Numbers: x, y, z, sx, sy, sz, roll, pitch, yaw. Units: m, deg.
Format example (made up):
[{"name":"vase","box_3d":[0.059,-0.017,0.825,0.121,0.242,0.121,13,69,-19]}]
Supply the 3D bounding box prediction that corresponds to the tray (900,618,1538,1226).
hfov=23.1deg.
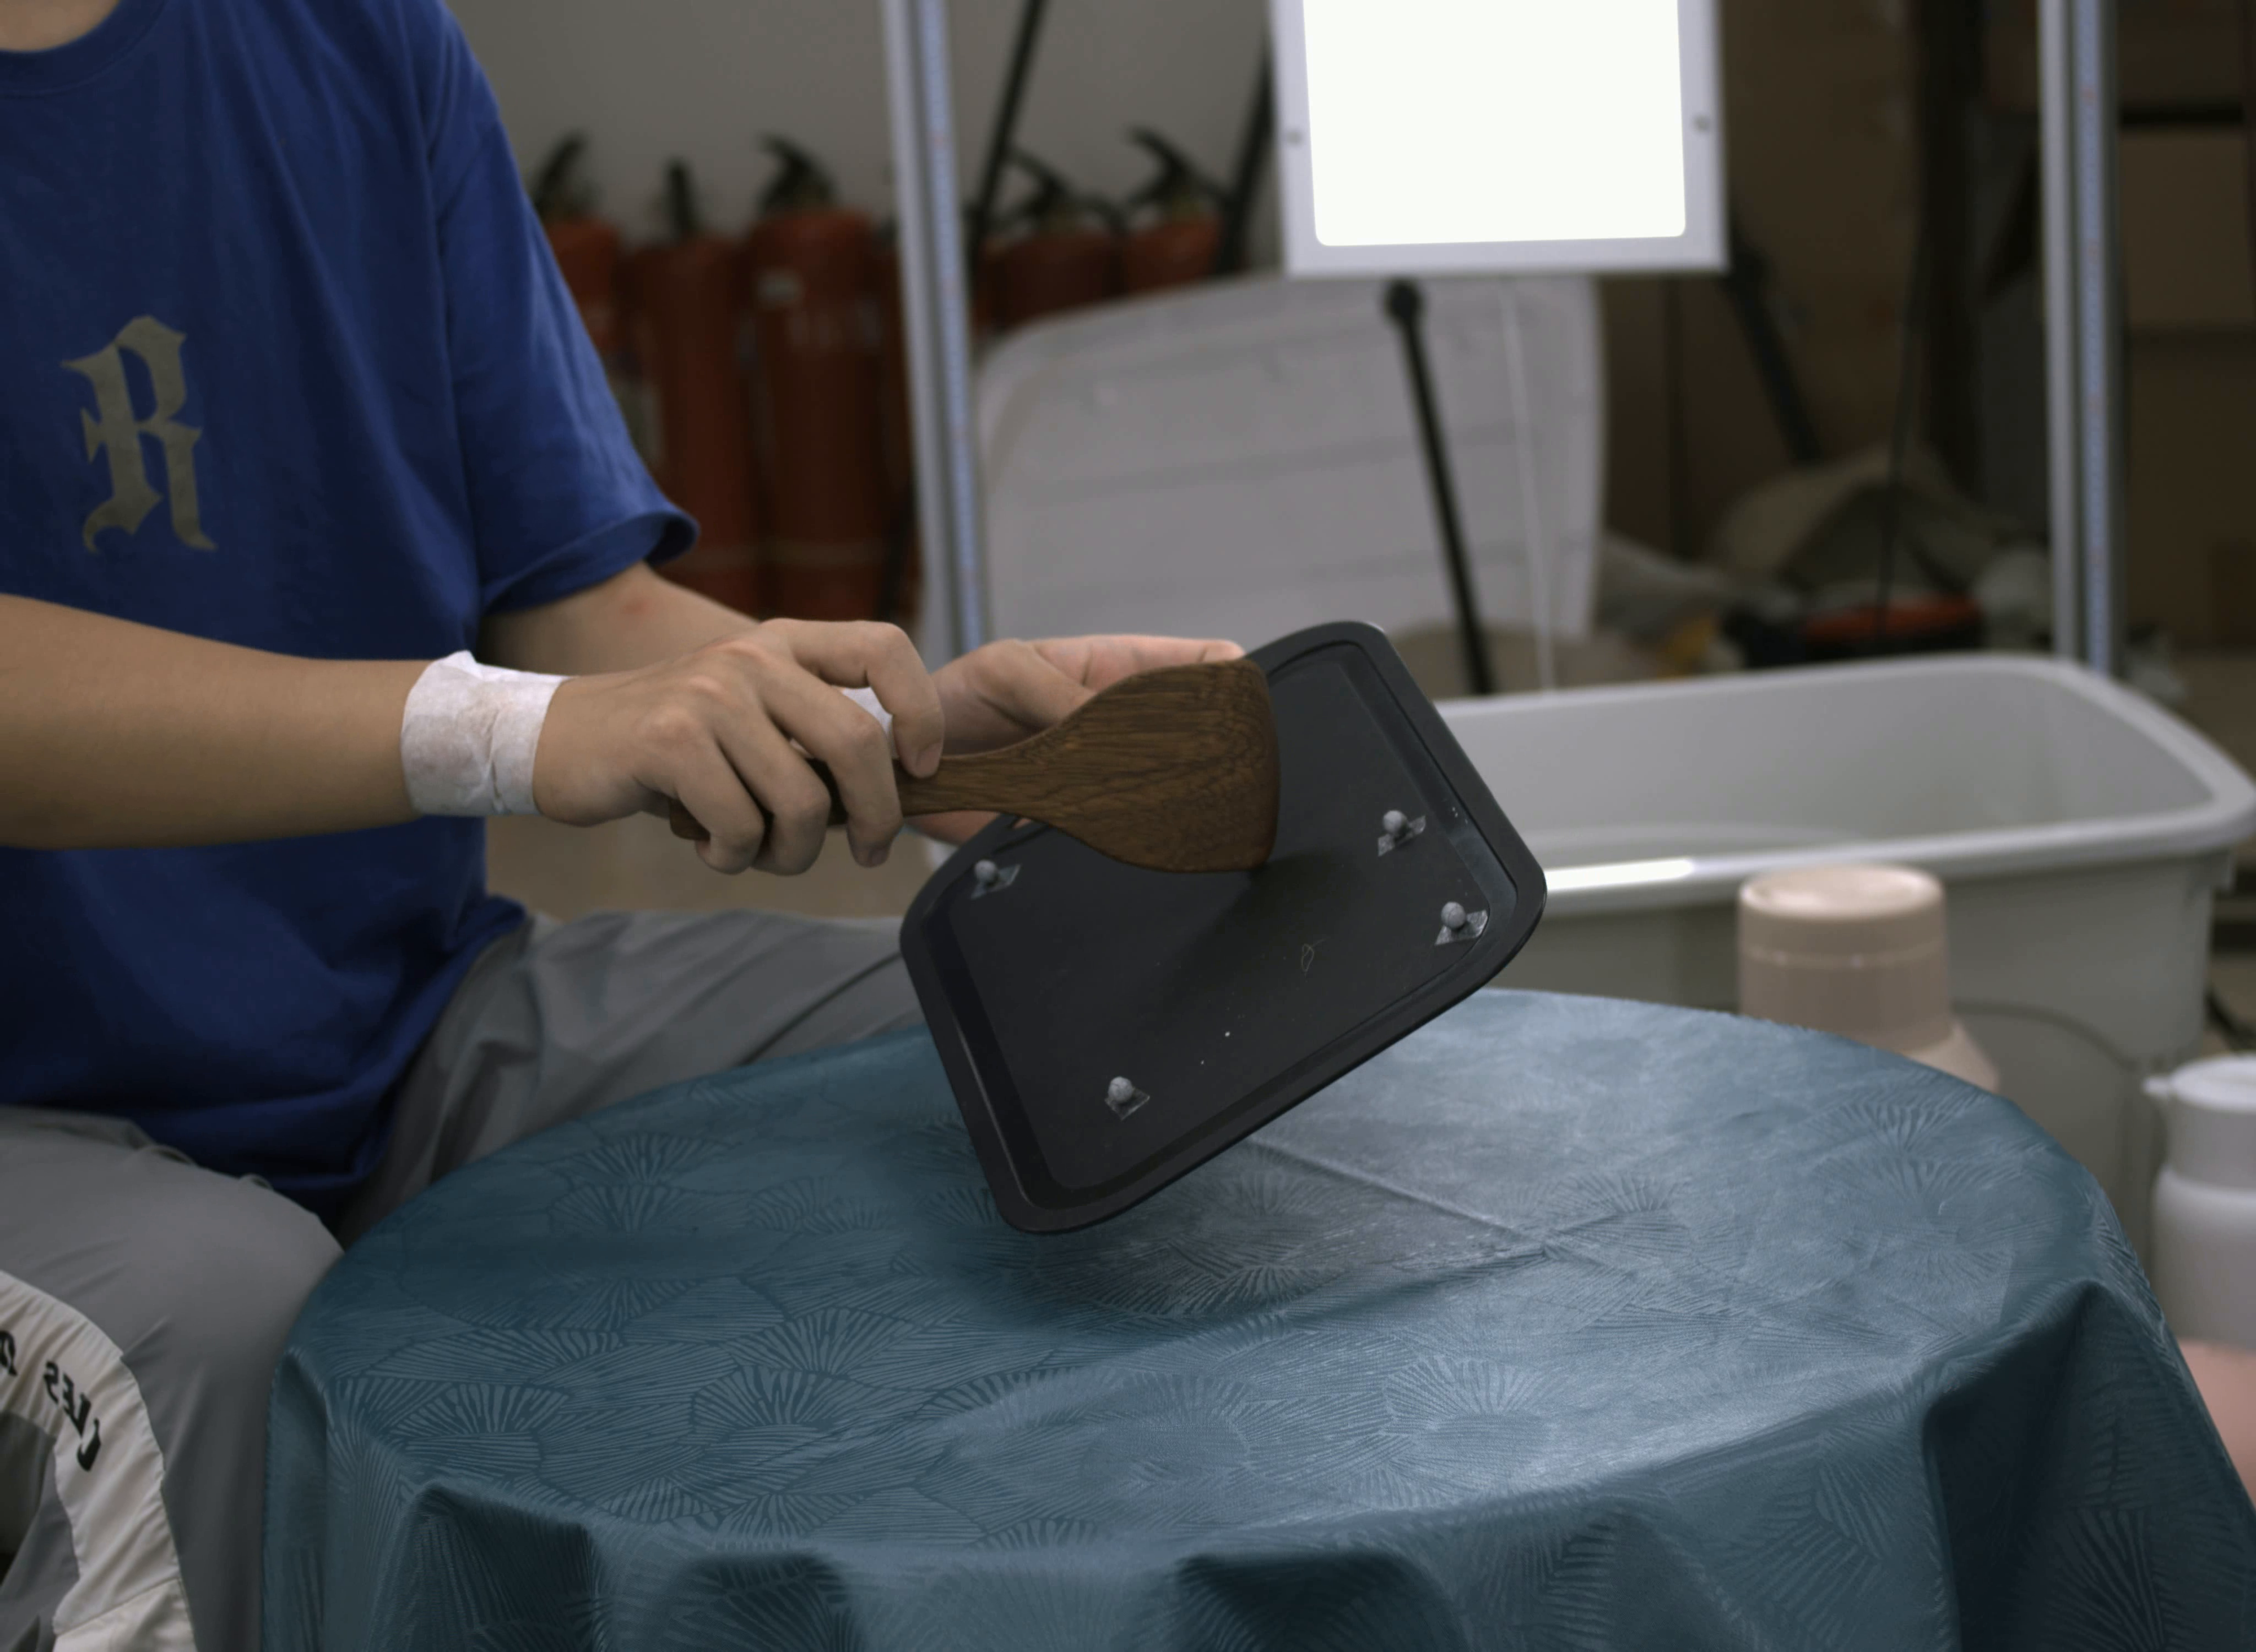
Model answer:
[{"name":"tray","box_3d":[0.022,0.023,1.894,0.212,0.010,0.326,-33,25,5]}]

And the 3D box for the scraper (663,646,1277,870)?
[{"name":"scraper","box_3d":[-0.053,-0.018,1.878,0.210,0.076,0.011,-3,4,0]}]
